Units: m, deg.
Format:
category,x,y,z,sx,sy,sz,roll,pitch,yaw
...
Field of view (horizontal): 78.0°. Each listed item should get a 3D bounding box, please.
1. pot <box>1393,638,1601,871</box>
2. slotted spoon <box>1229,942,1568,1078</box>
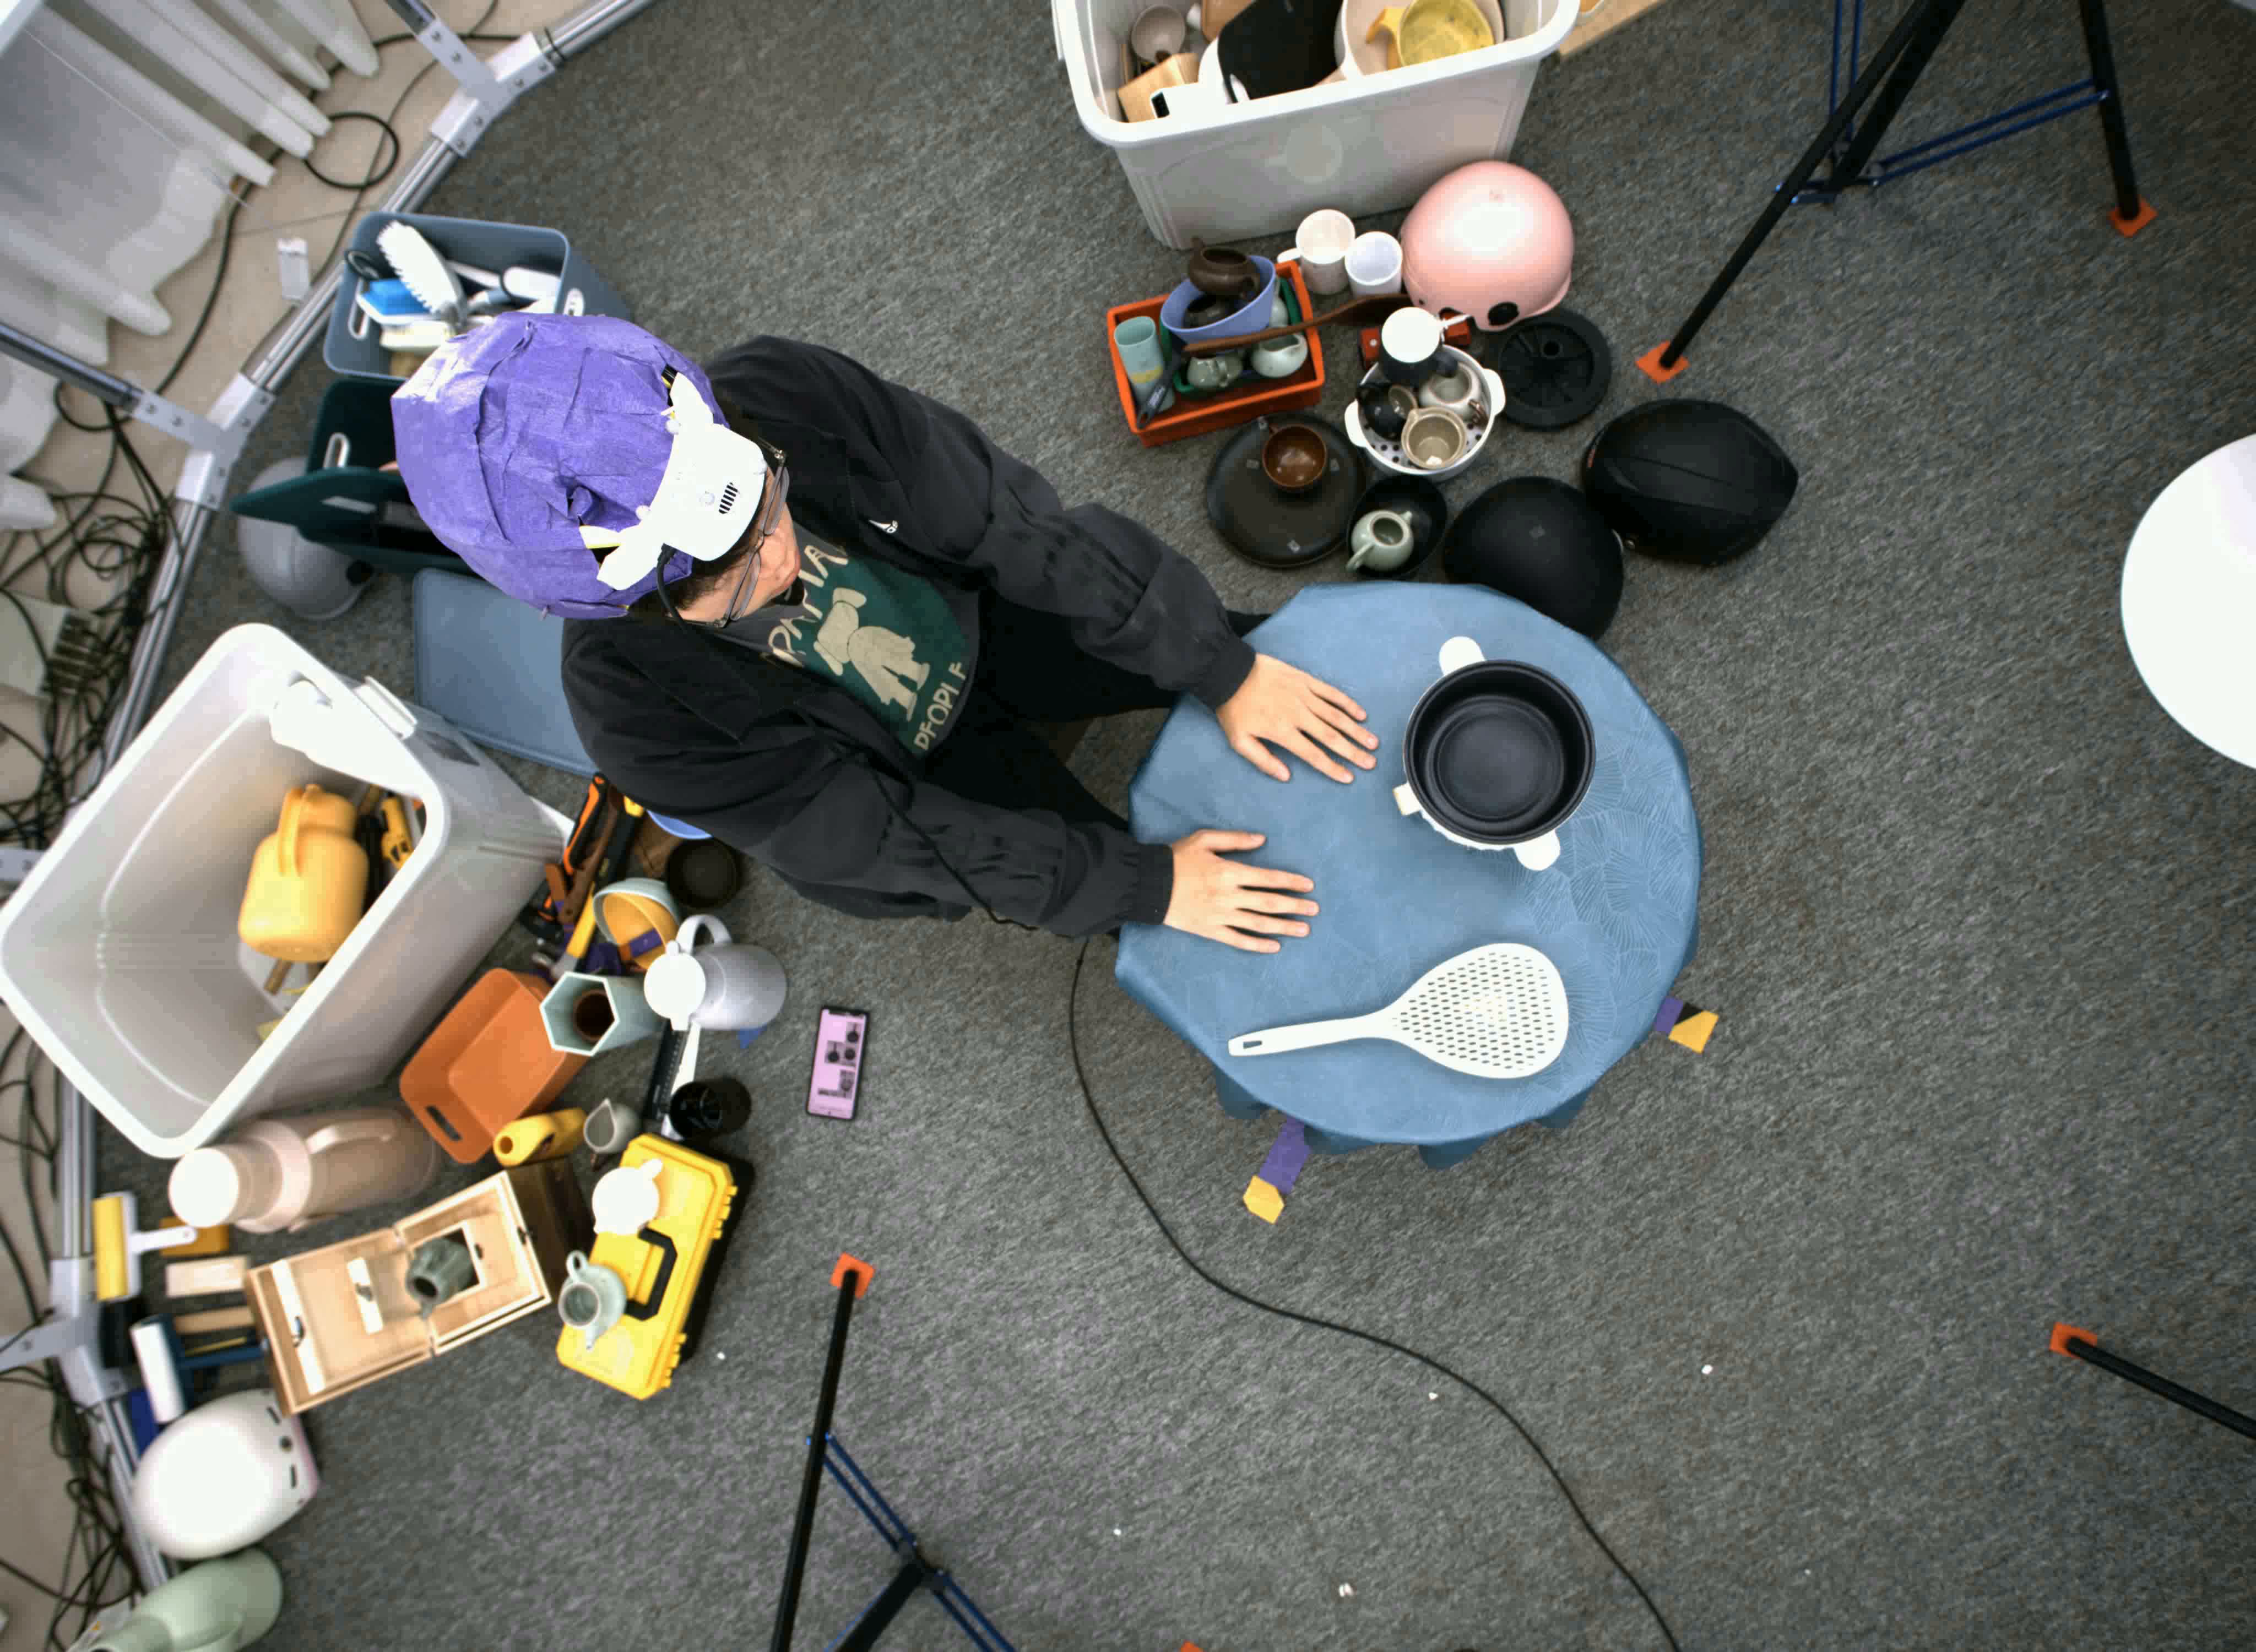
category,x,y,z,sx,sy,sz,roll,pitch,yaw
pot,0.363,-0.063,1.377,0.191,0.143,0.238,-21,81,6
slotted spoon,0.274,0.203,1.429,0.349,0.050,0.136,-9,87,10
